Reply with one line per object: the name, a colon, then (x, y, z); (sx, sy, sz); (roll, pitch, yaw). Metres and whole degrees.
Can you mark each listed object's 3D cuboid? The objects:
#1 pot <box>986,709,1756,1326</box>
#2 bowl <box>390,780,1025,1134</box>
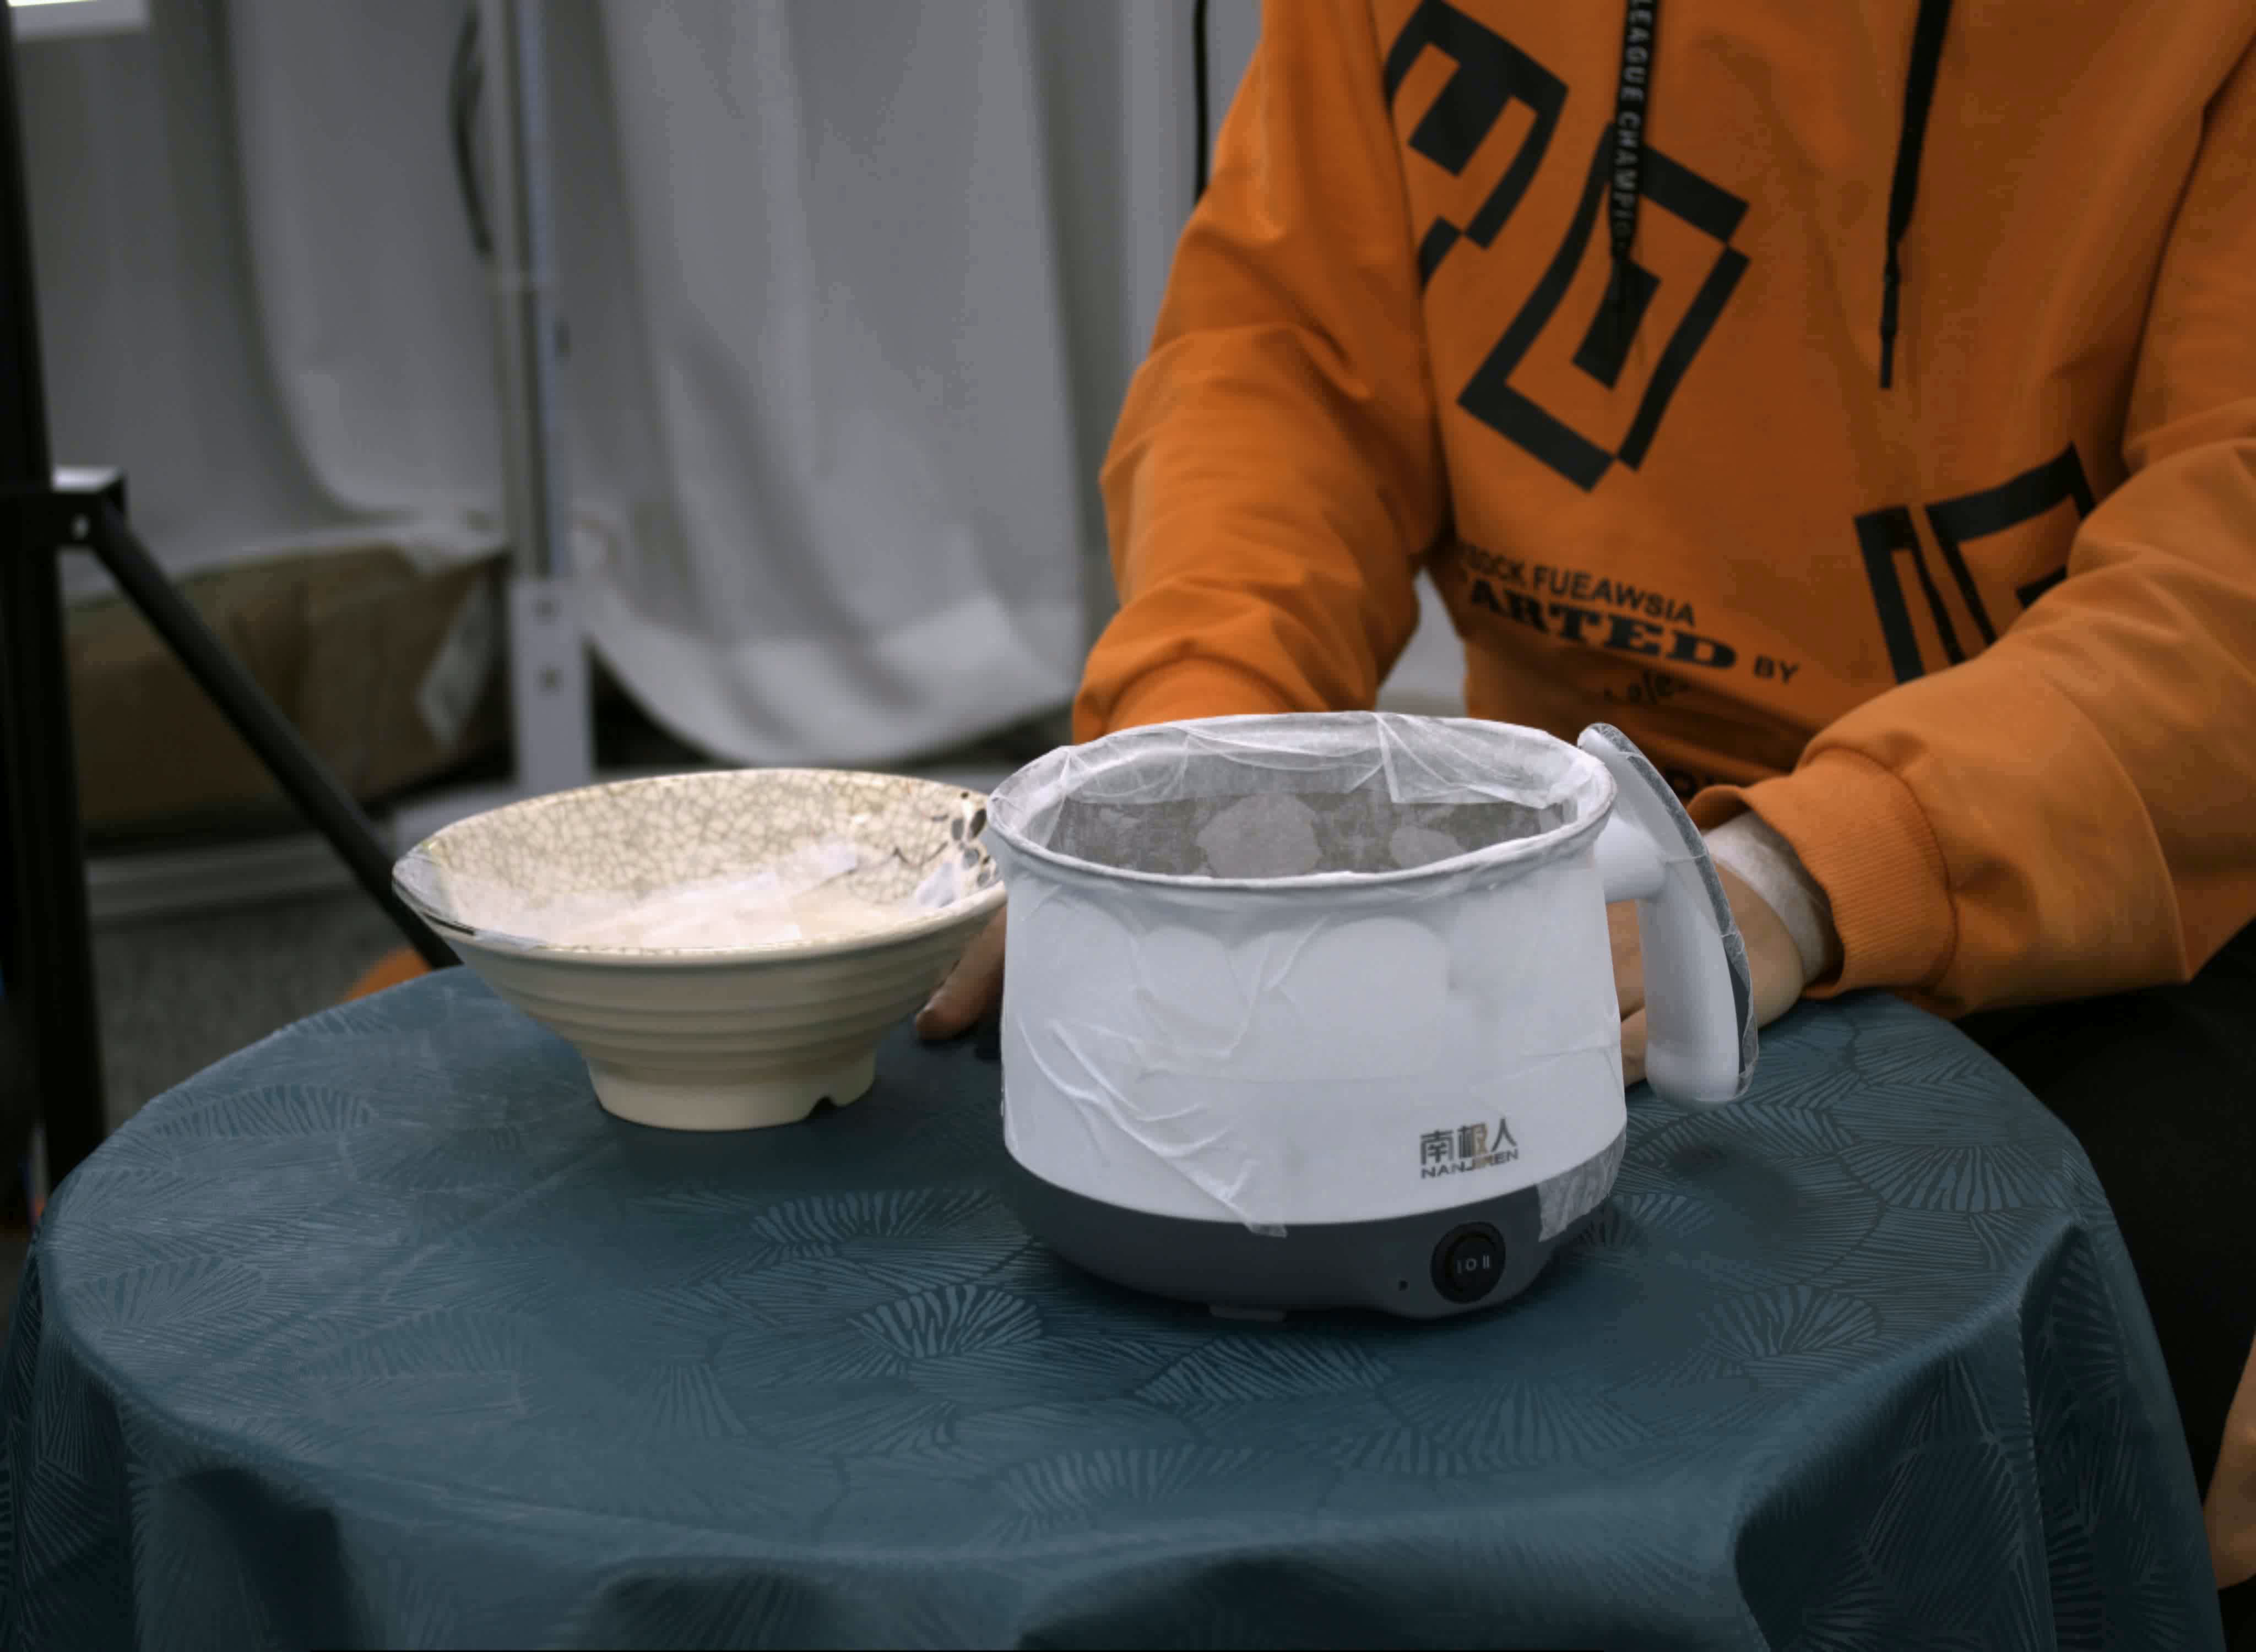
pot: (0.075, 0.047, 1.508); (0.229, 0.136, 0.182); (-11, 18, -26)
bowl: (-0.126, 0.047, 1.659); (0.203, 0.078, 0.205); (-2, 14, -1)
